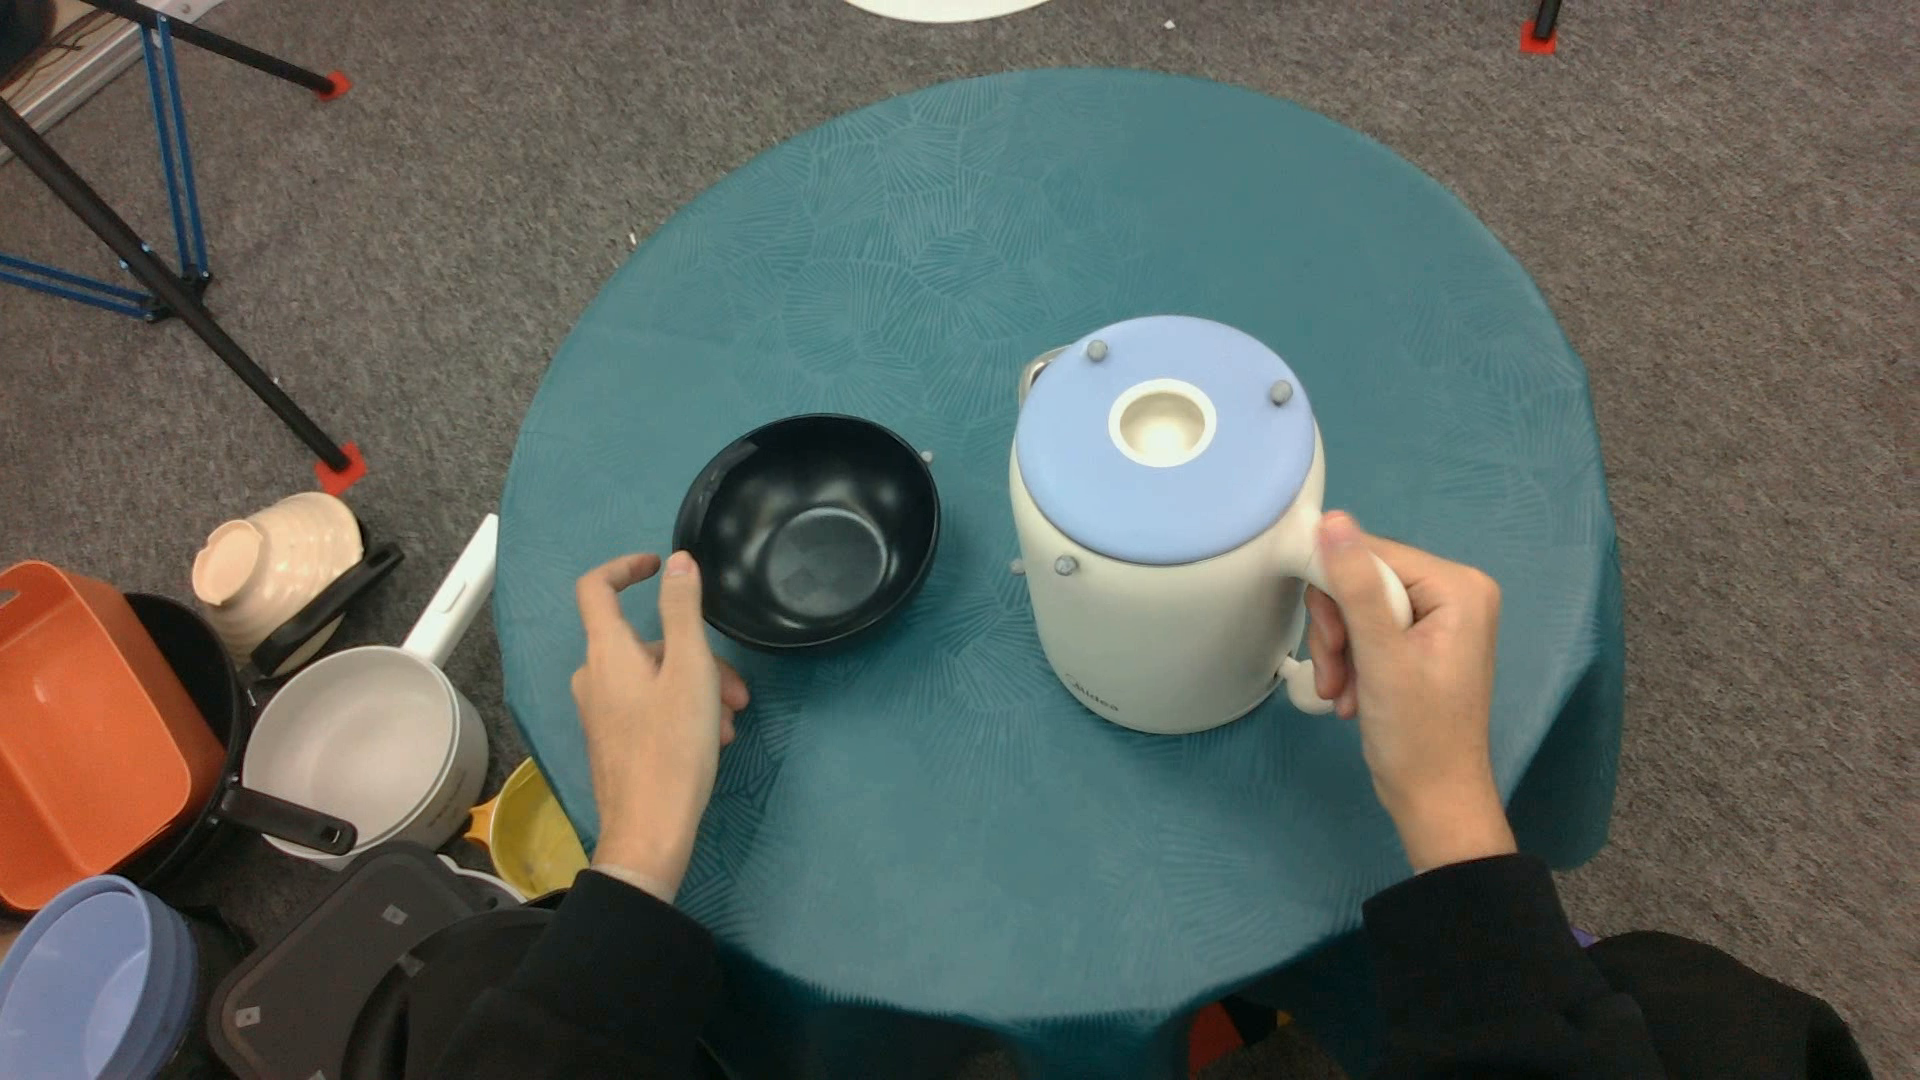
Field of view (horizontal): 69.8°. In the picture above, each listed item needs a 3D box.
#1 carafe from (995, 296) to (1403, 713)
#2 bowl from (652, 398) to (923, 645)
[{"bbox_3d":[0.106,0.001,0.613,0.191,0.182,0.132,31,70,20],"label":"carafe"},{"bbox_3d":[-0.085,-0.003,0.713,0.140,0.049,0.140,-3,62,6],"label":"bowl"}]
